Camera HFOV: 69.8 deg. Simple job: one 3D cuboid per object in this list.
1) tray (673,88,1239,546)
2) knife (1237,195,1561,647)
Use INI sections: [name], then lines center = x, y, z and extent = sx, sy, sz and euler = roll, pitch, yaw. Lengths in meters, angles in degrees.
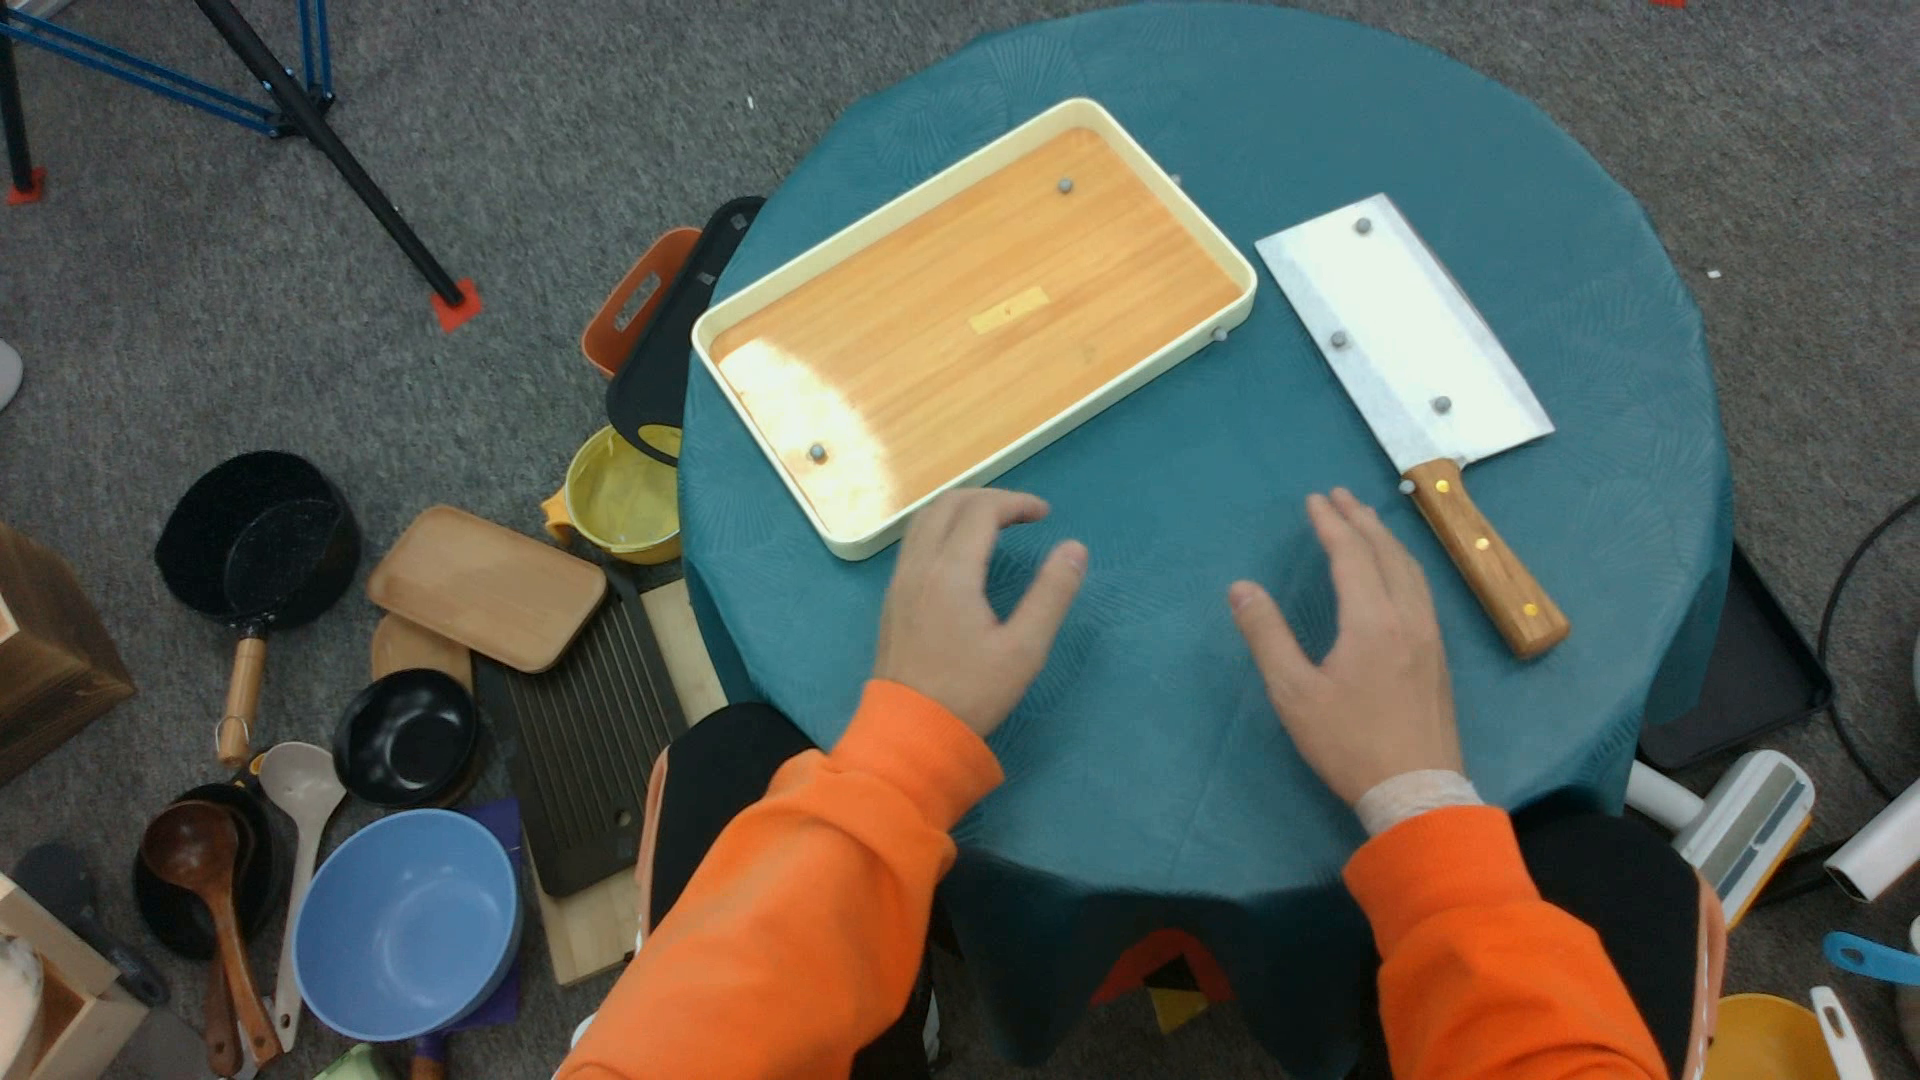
[tray]
center = -0.003, -0.142, 0.829
extent = 0.301, 0.027, 0.192
euler = -32, 66, -10
[knife]
center = 0.264, -0.083, 0.782
extent = 0.093, 0.021, 0.306
euler = -21, 62, -6
